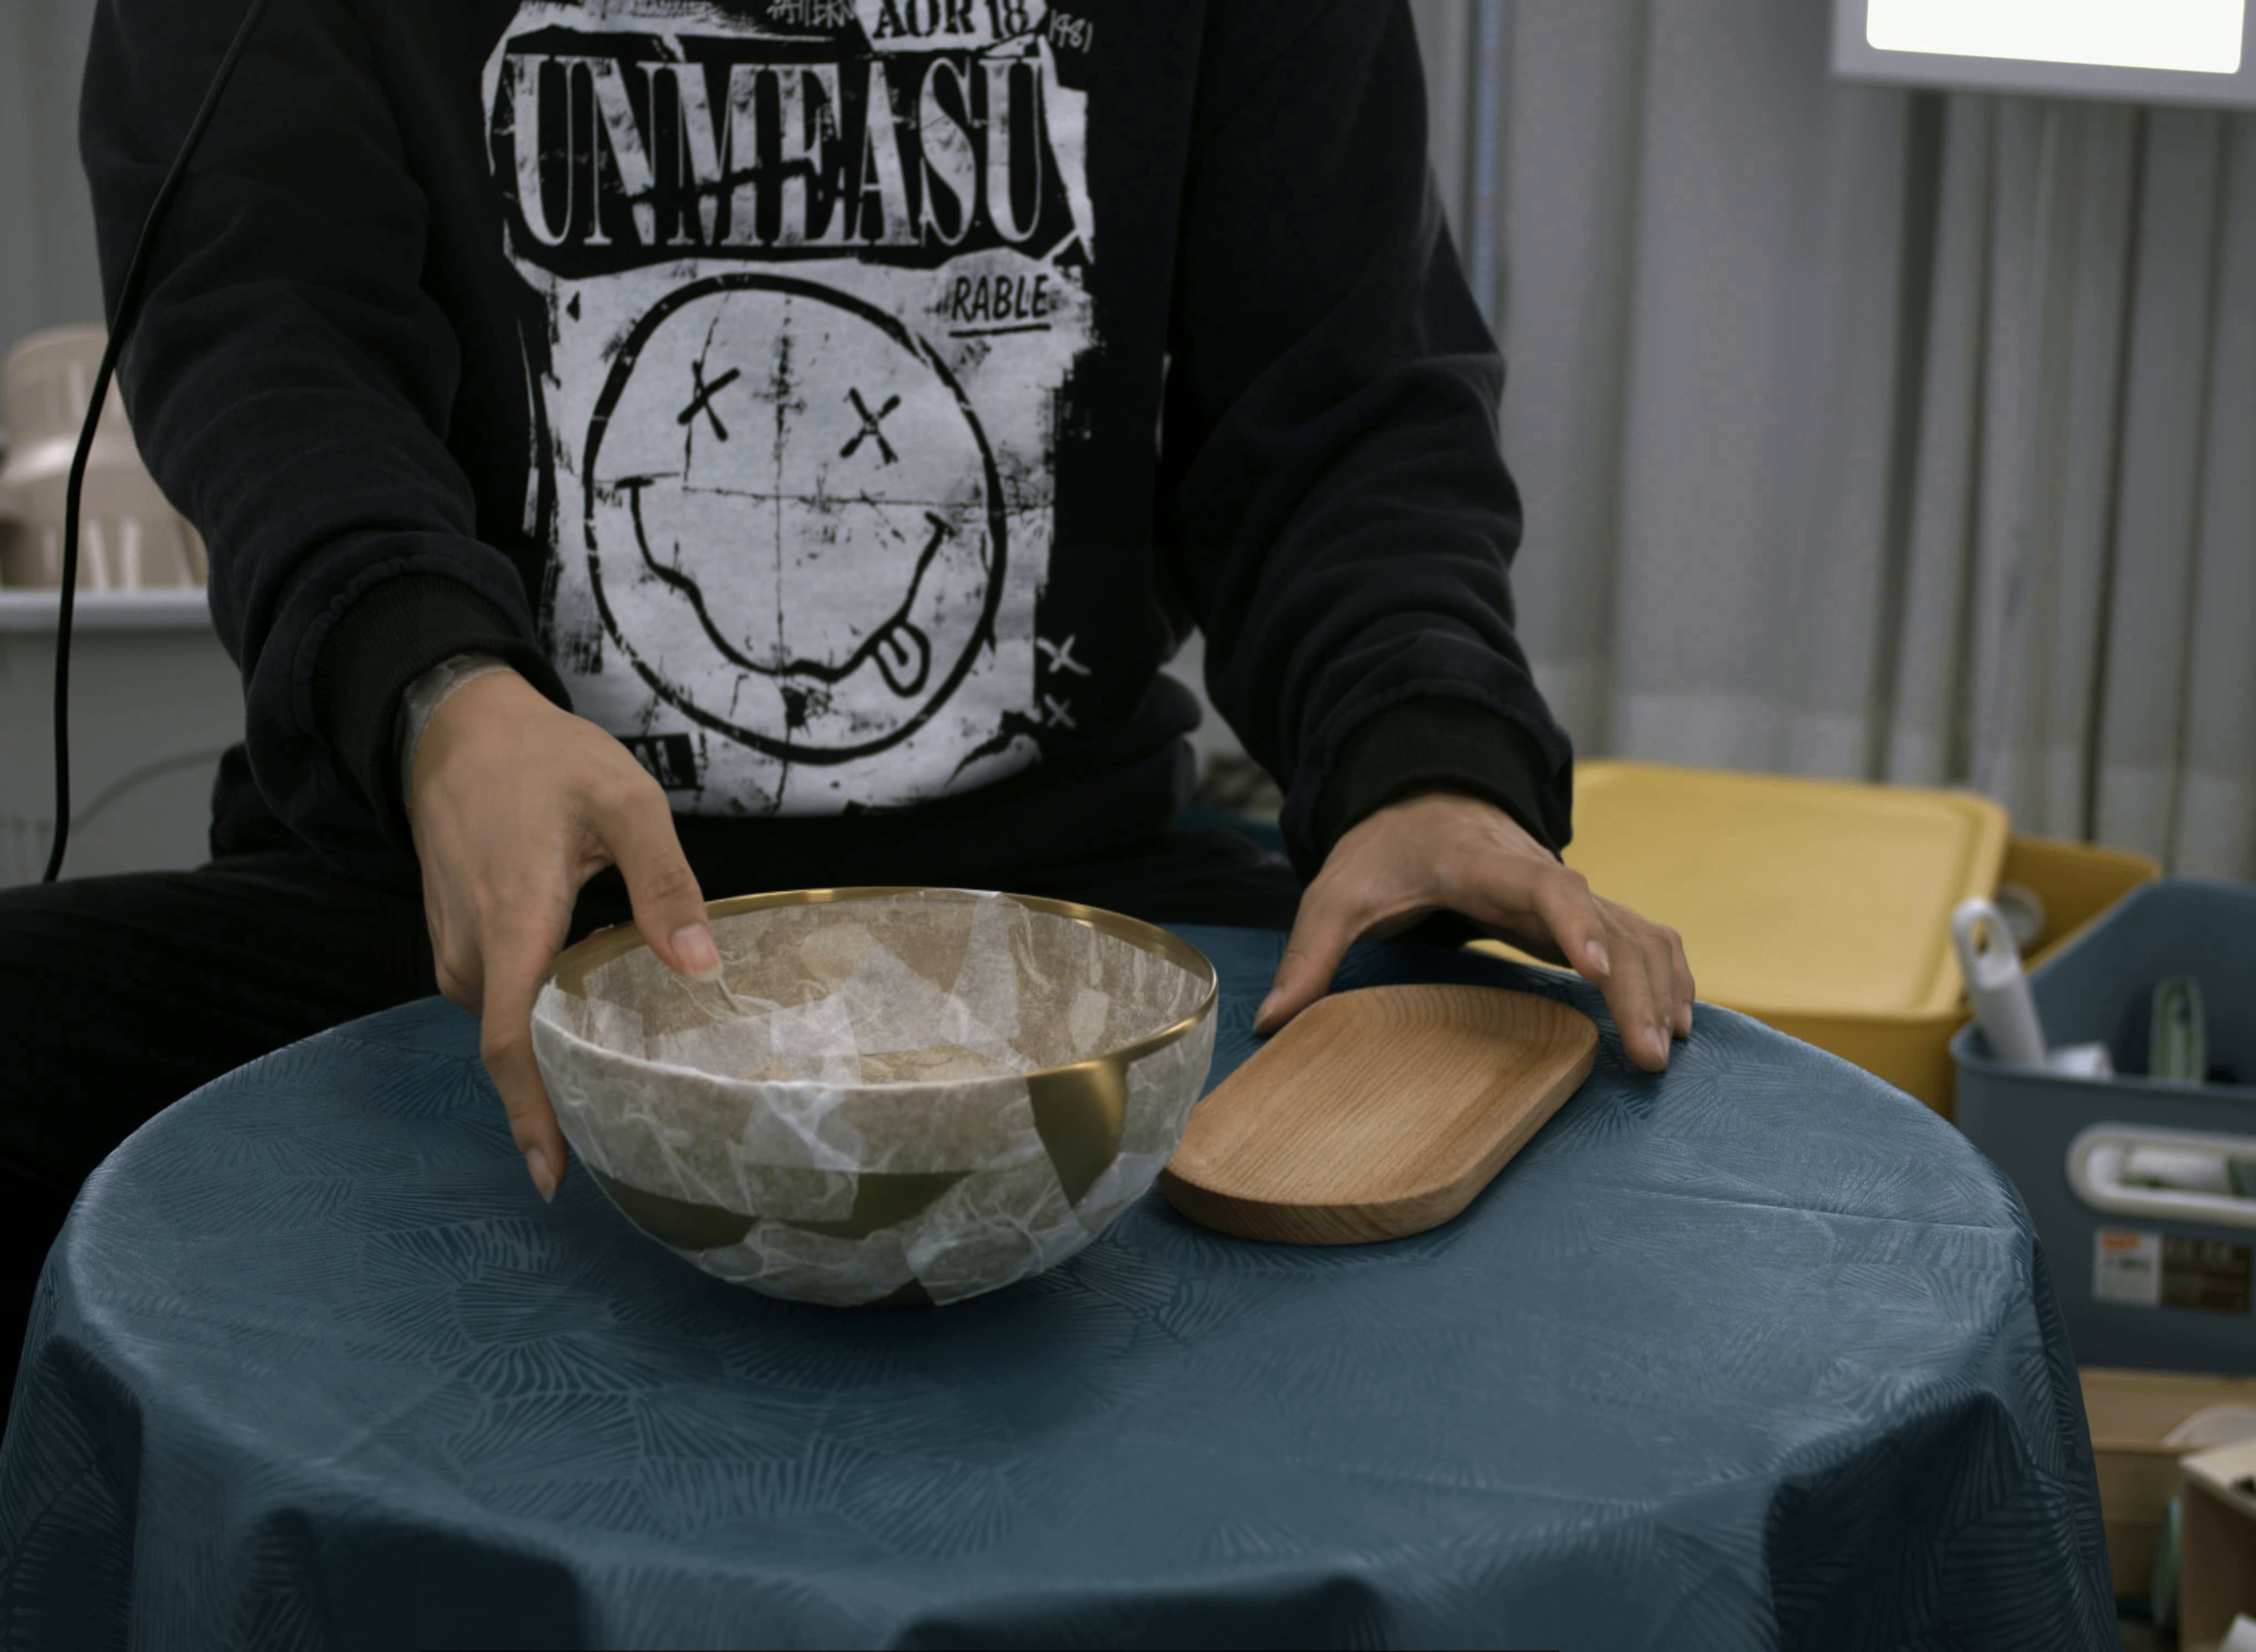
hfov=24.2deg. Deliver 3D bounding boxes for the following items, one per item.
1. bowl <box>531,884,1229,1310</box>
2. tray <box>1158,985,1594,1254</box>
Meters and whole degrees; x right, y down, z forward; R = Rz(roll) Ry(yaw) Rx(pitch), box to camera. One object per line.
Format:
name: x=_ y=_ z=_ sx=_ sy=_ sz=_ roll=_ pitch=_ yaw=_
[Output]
bowl: x=-0.069 y=0.087 z=1.545 sx=0.214 sy=0.095 sz=0.213 roll=0 pitch=15 yaw=1
tray: x=0.082 y=0.091 z=1.678 sx=0.101 sy=0.020 sz=0.231 roll=4 pitch=18 yaw=19
